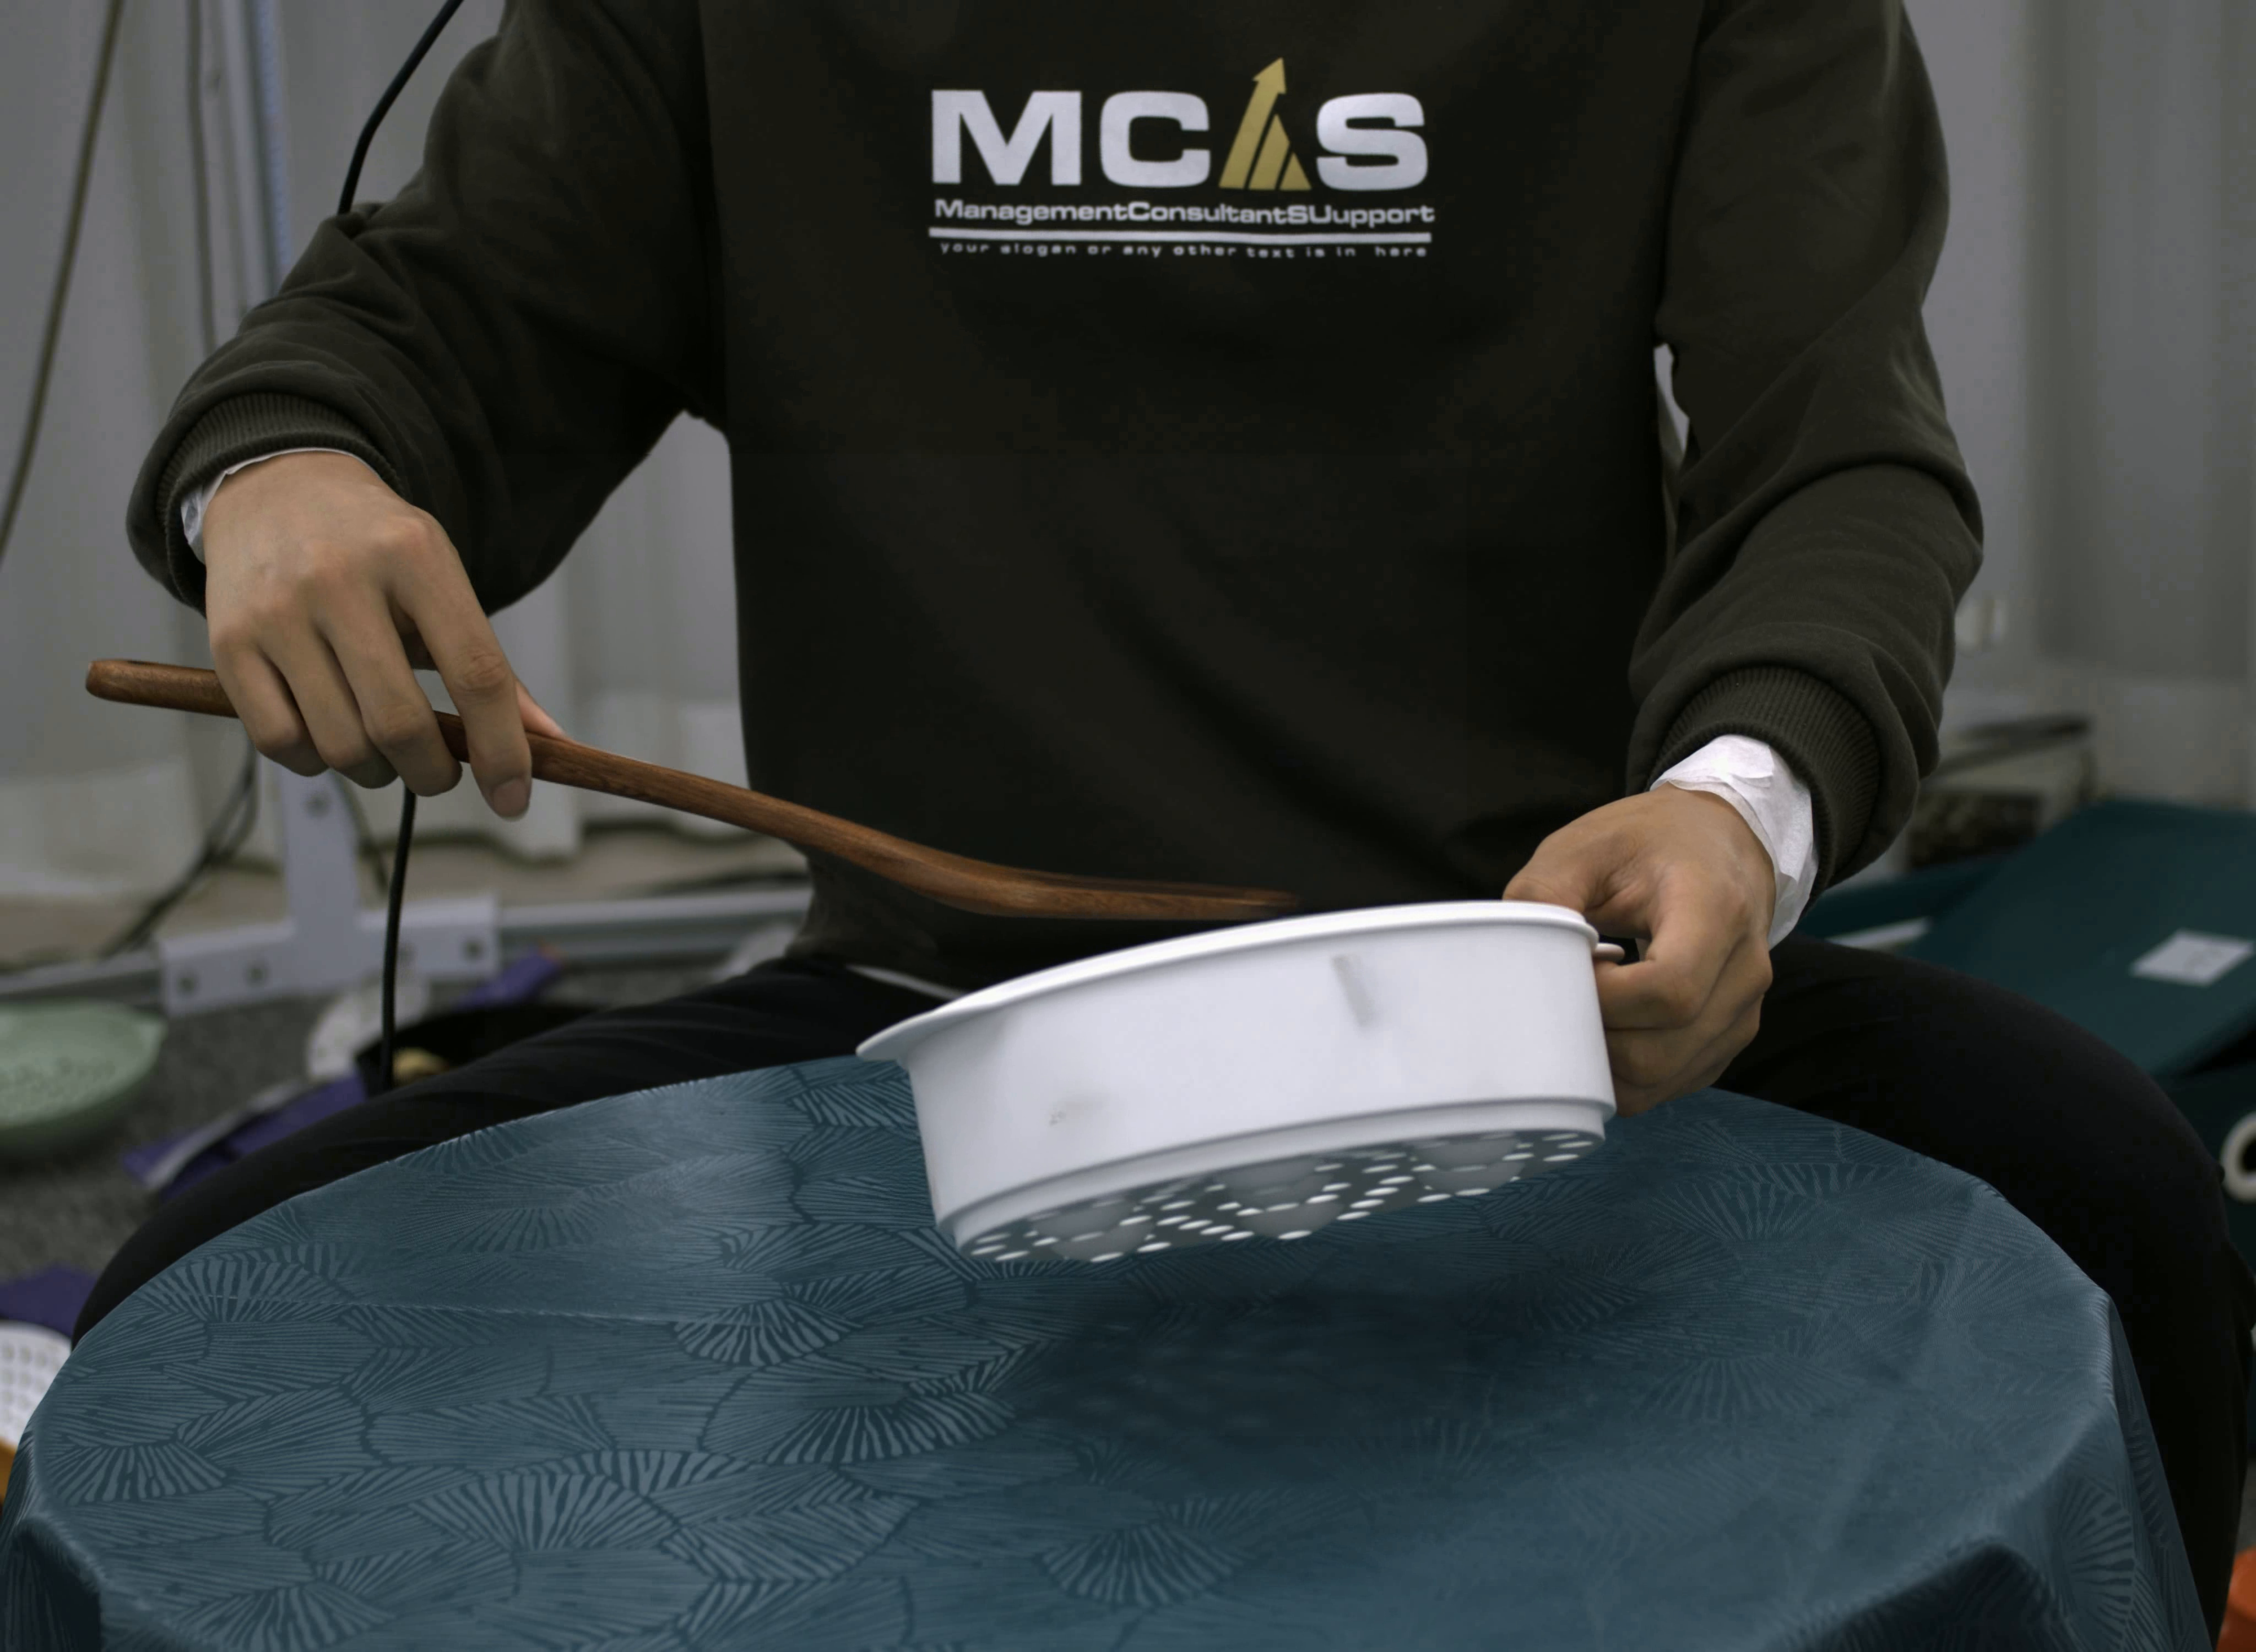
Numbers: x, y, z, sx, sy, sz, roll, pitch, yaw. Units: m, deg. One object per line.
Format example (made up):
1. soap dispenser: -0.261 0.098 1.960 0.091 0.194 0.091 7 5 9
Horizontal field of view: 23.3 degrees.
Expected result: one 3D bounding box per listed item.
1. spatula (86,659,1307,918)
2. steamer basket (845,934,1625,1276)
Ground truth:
1. spatula: -0.136 -0.008 1.664 0.385 0.024 0.086 12 5 10
2. steamer basket: 0.033 0.082 1.532 0.229 0.070 0.201 2 -14 -25
